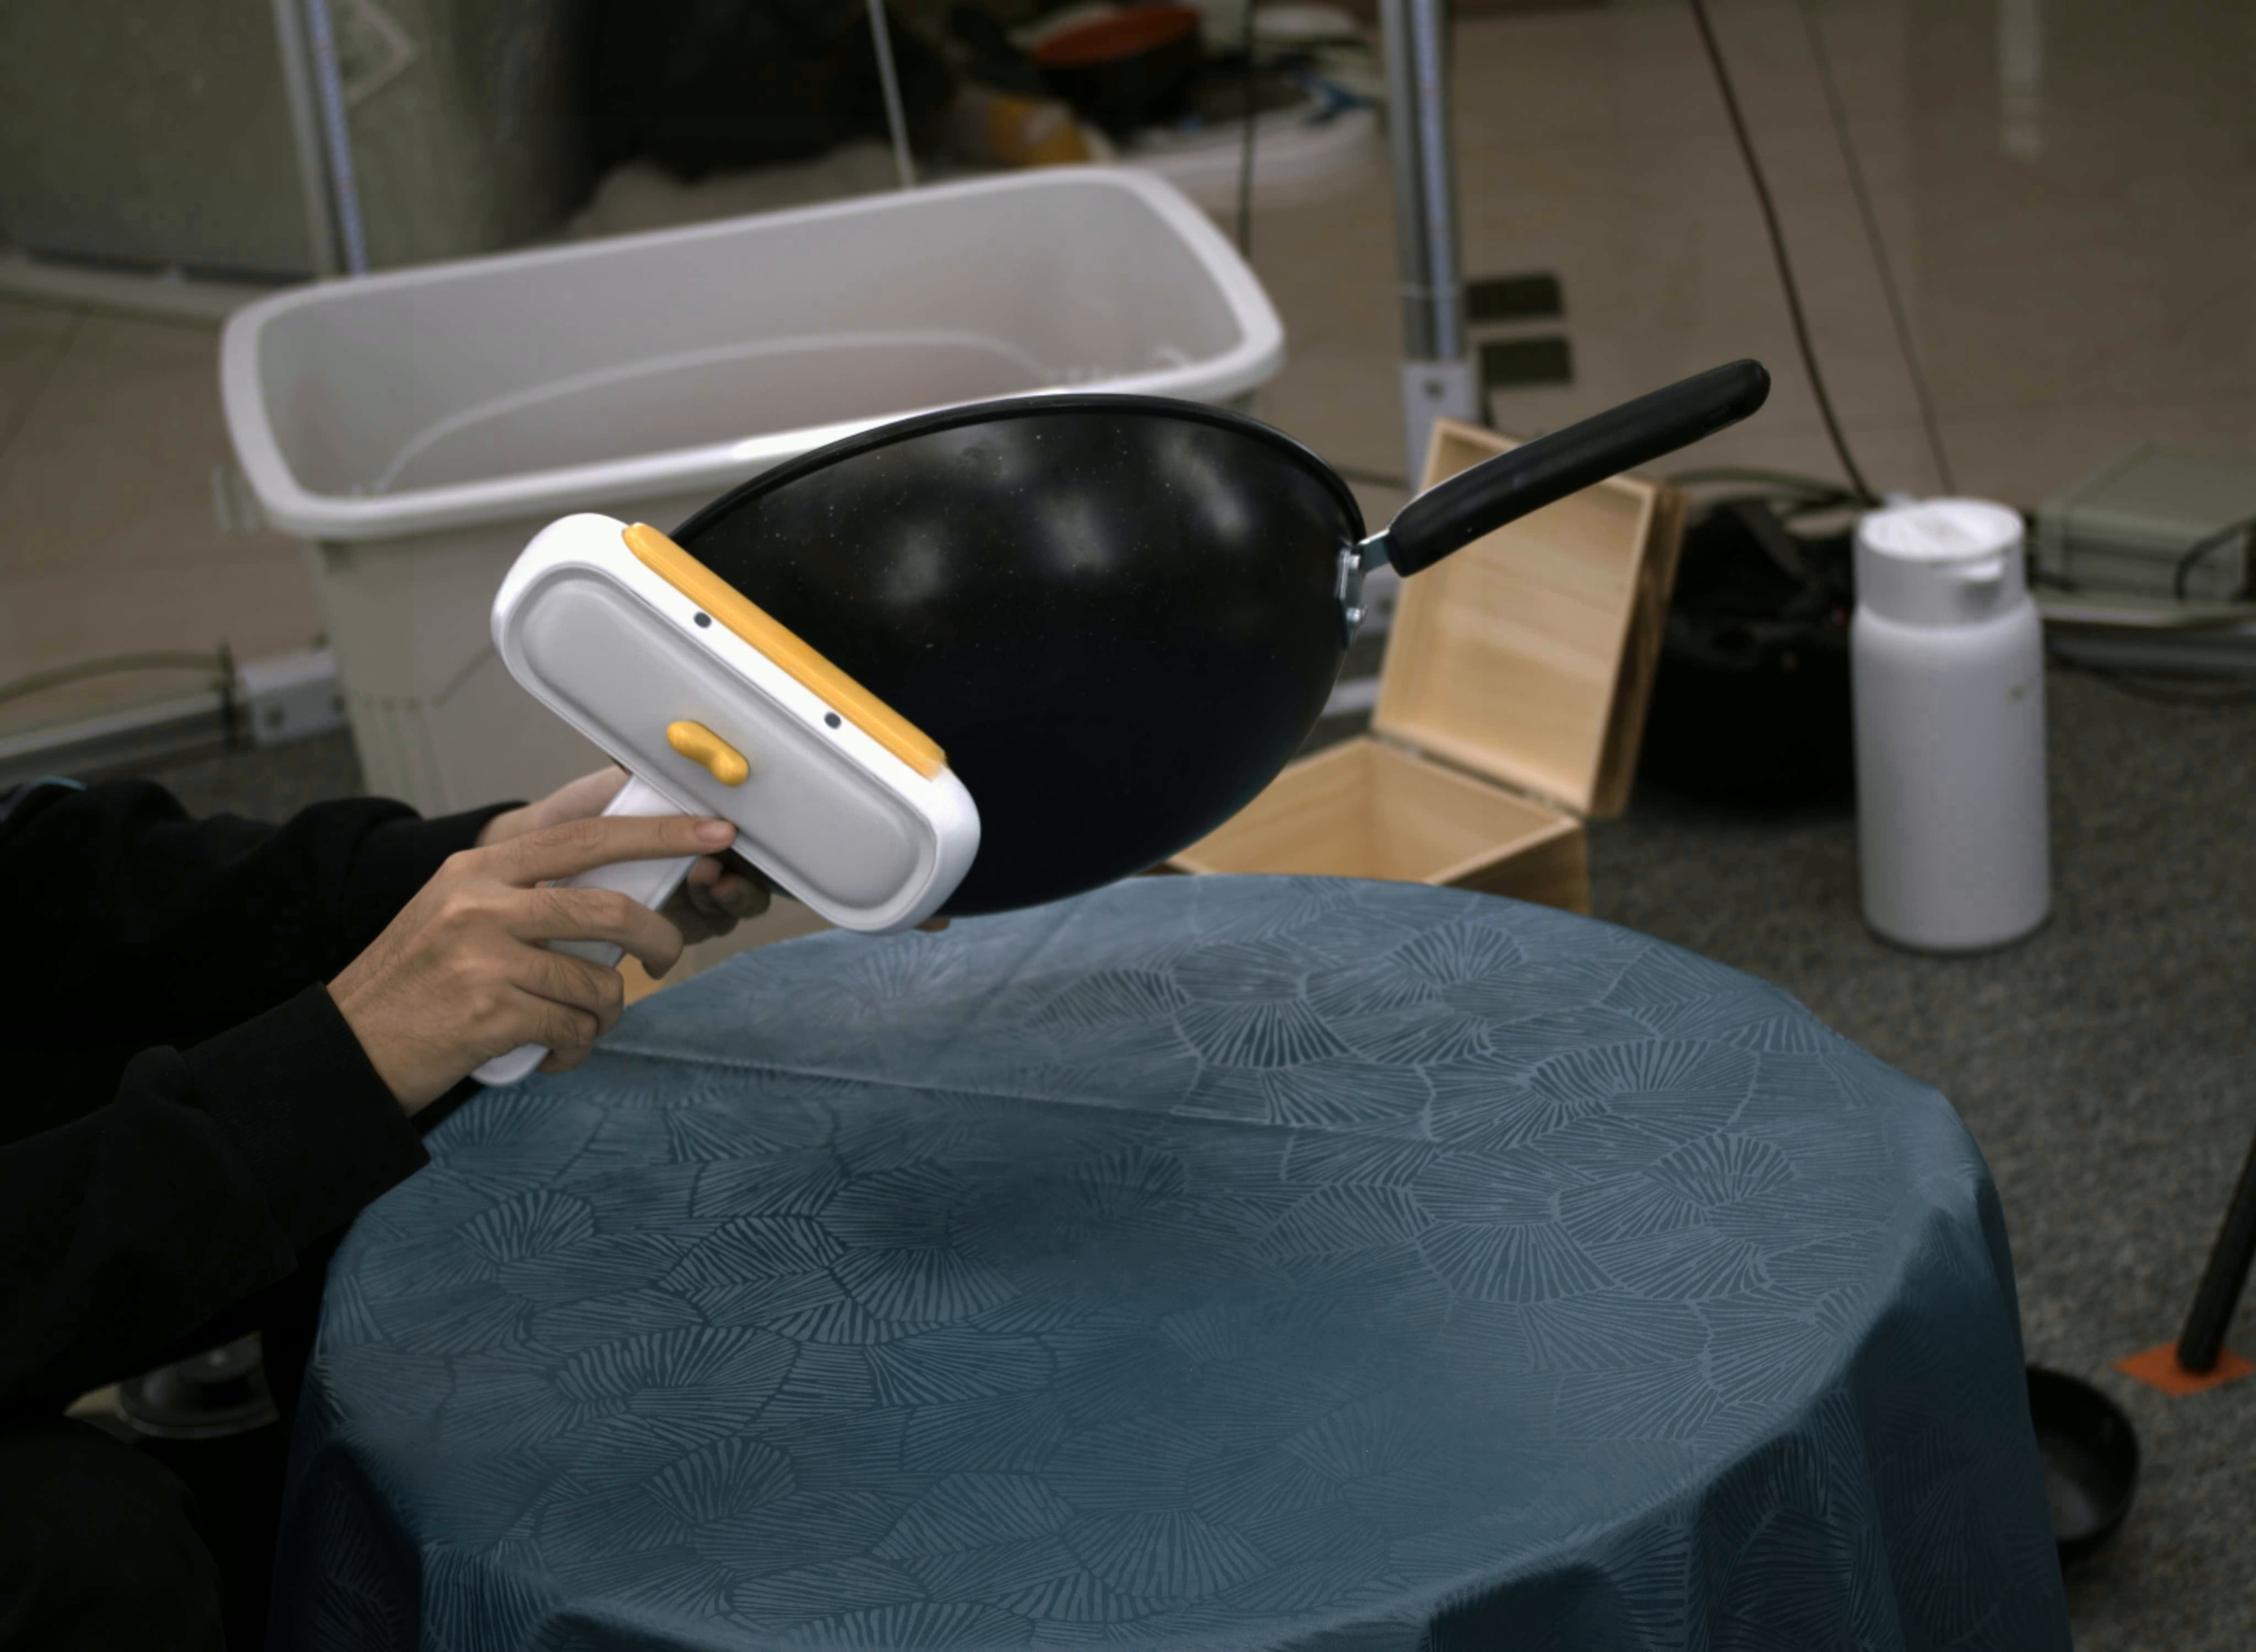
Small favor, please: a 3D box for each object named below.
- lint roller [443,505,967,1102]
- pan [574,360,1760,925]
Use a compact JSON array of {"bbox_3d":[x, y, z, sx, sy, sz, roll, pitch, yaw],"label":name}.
[{"bbox_3d":[-0.177,0.010,1.996,0.193,0.194,0.073,33,13,-9],"label":"lint roller"},{"bbox_3d":[0.023,-0.071,2.162,0.476,0.315,0.110,-14,64,-1],"label":"pan"}]
